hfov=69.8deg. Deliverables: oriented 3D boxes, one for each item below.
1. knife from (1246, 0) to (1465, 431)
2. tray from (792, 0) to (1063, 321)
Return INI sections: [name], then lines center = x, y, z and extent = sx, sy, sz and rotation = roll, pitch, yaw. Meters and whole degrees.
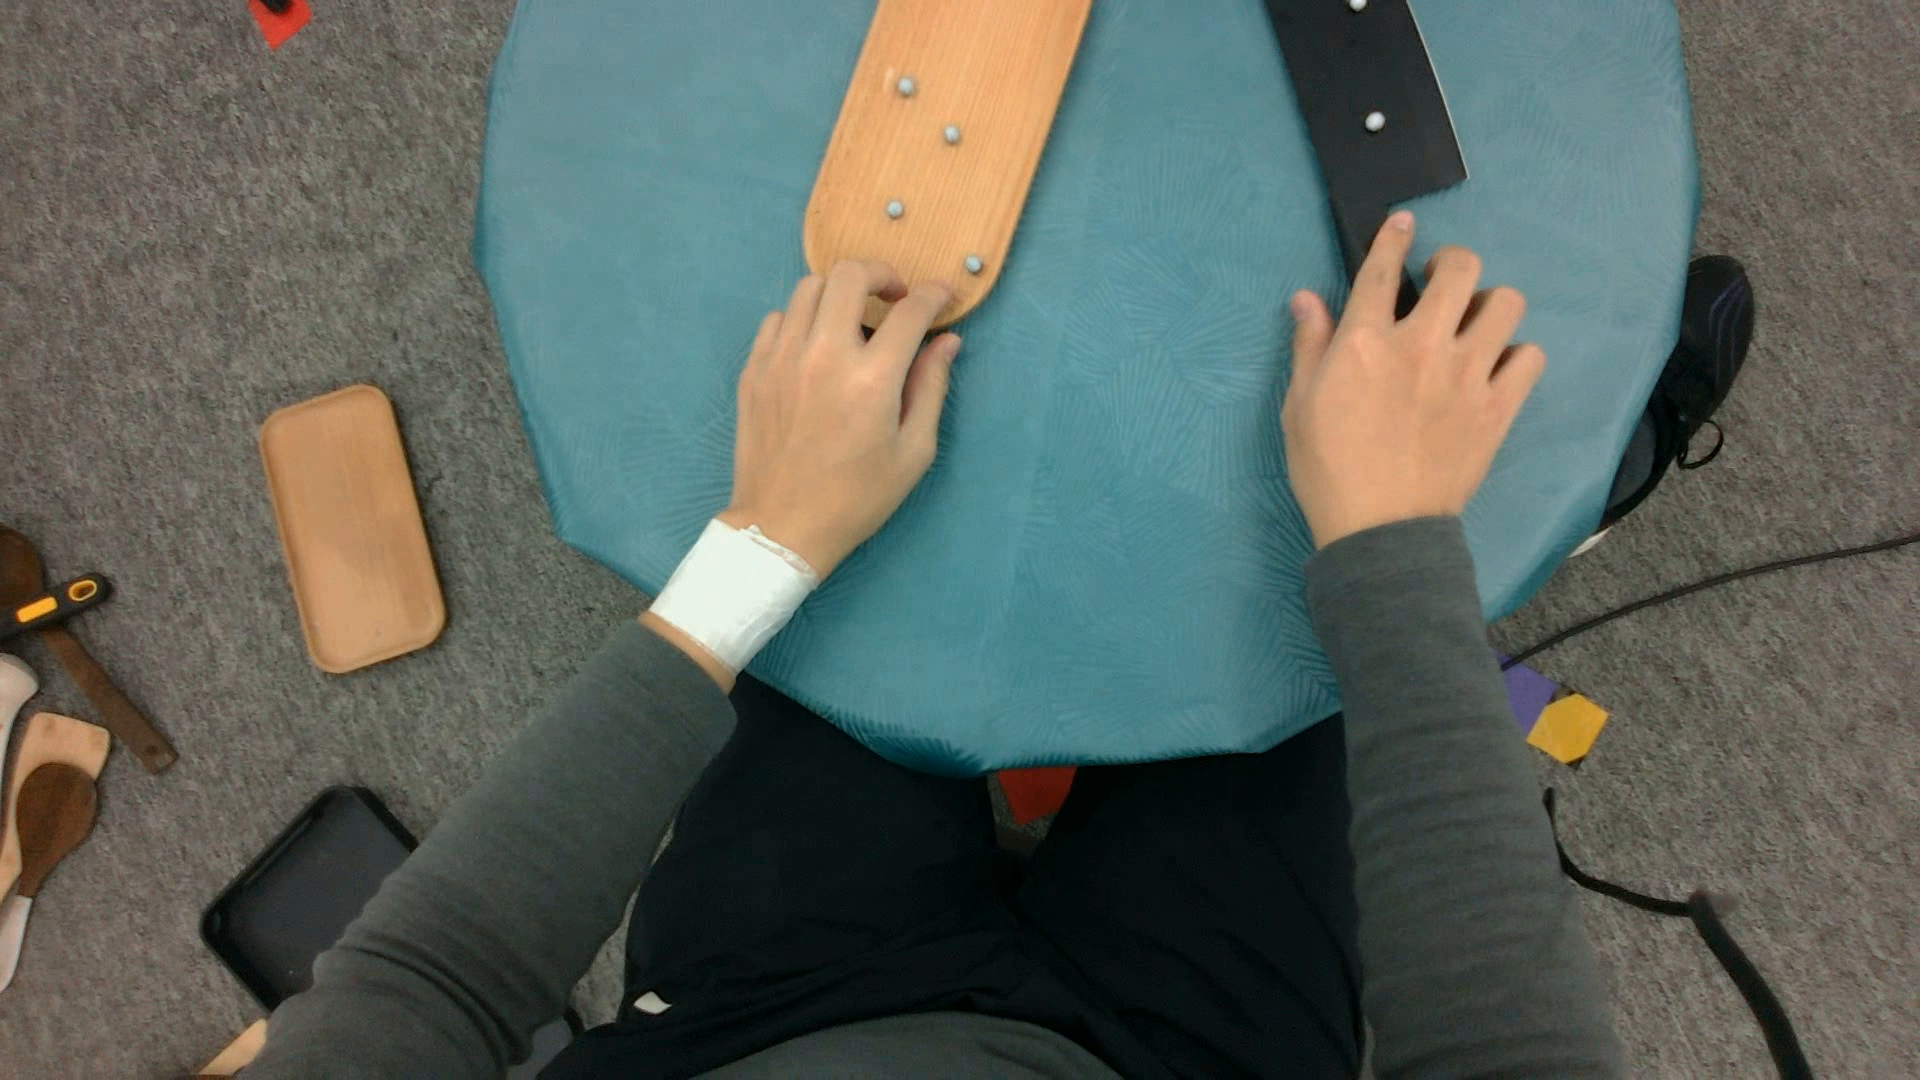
[knife]
center = 0.193, -0.197, 0.672
extent = 0.081, 0.021, 0.302
rotation = -12, 81, 1
[tray]
center = -0.014, -0.219, 0.682
extent = 0.101, 0.020, 0.231
rotation = 15, 84, 3
